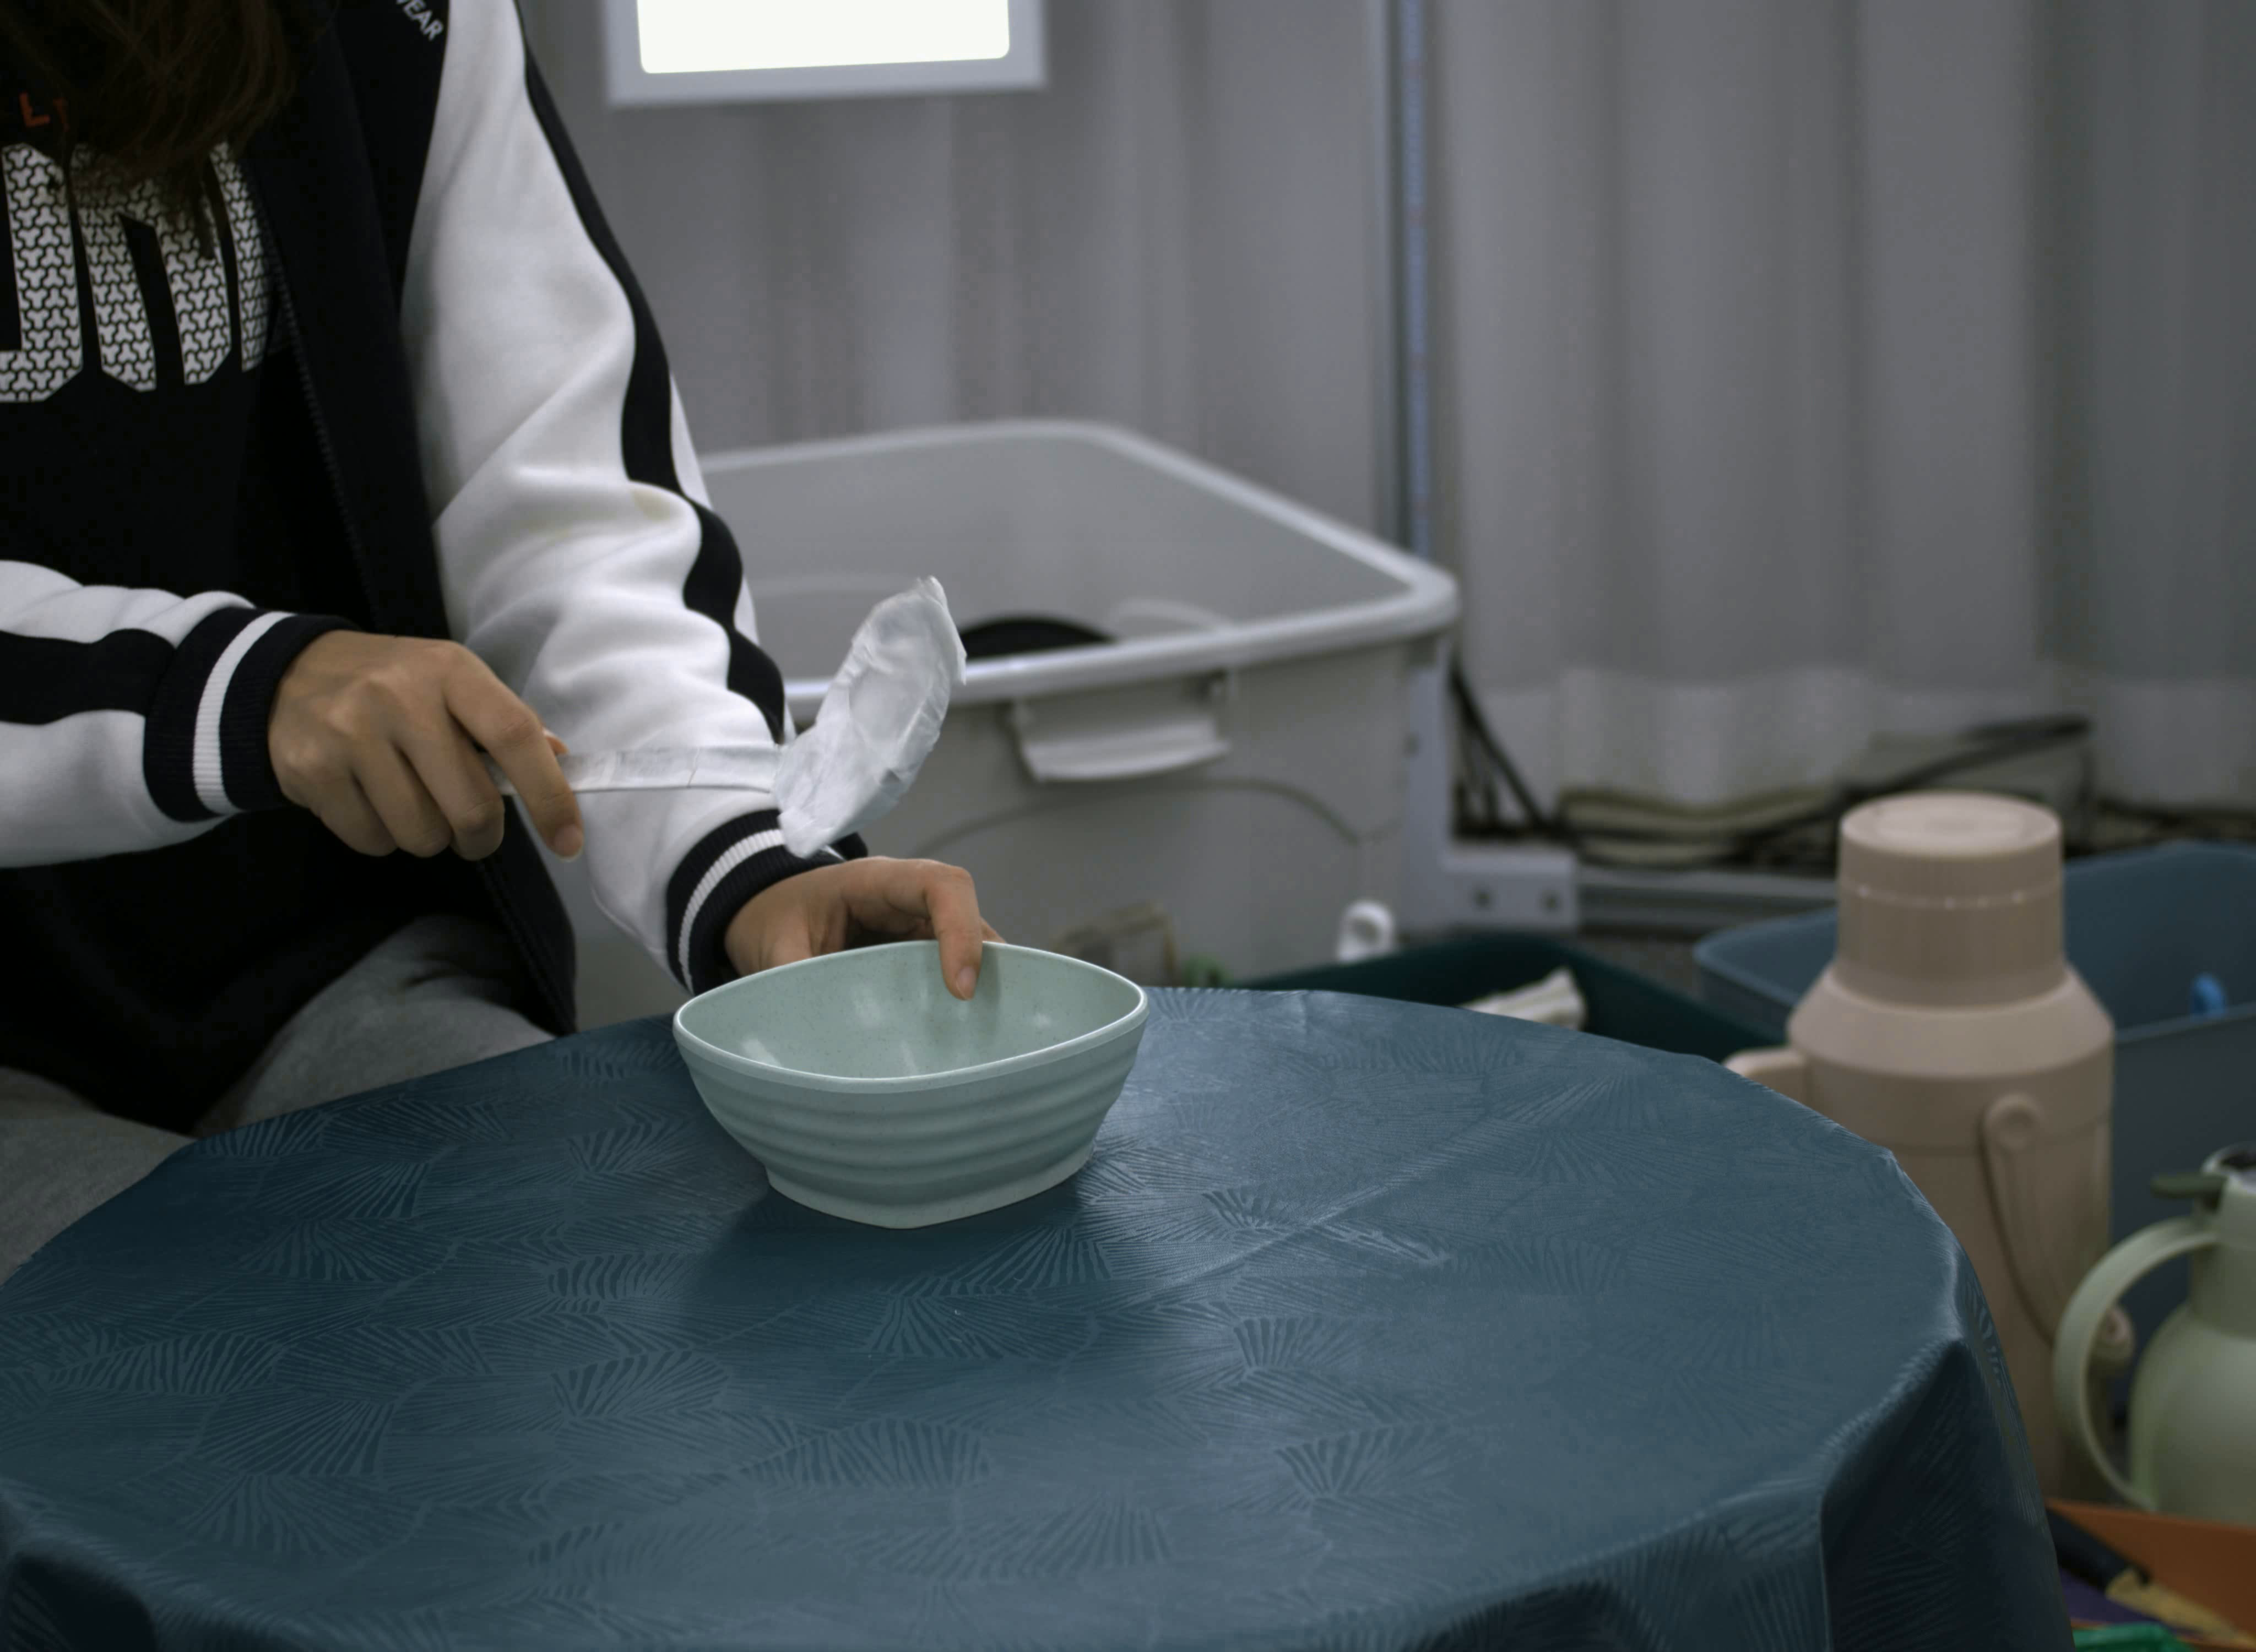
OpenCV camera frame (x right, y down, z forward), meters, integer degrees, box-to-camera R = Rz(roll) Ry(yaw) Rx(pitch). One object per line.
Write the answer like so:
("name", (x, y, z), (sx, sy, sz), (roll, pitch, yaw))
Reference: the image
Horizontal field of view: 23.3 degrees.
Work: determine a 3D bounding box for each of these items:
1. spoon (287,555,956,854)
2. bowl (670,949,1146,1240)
("spoon", (-0.163, -0.039, 1.701), (0.278, 0.058, 0.102), (2, 57, 31))
("bowl", (-0.068, 0.088, 1.731), (0.151, 0.058, 0.152), (-2, 14, 0))
